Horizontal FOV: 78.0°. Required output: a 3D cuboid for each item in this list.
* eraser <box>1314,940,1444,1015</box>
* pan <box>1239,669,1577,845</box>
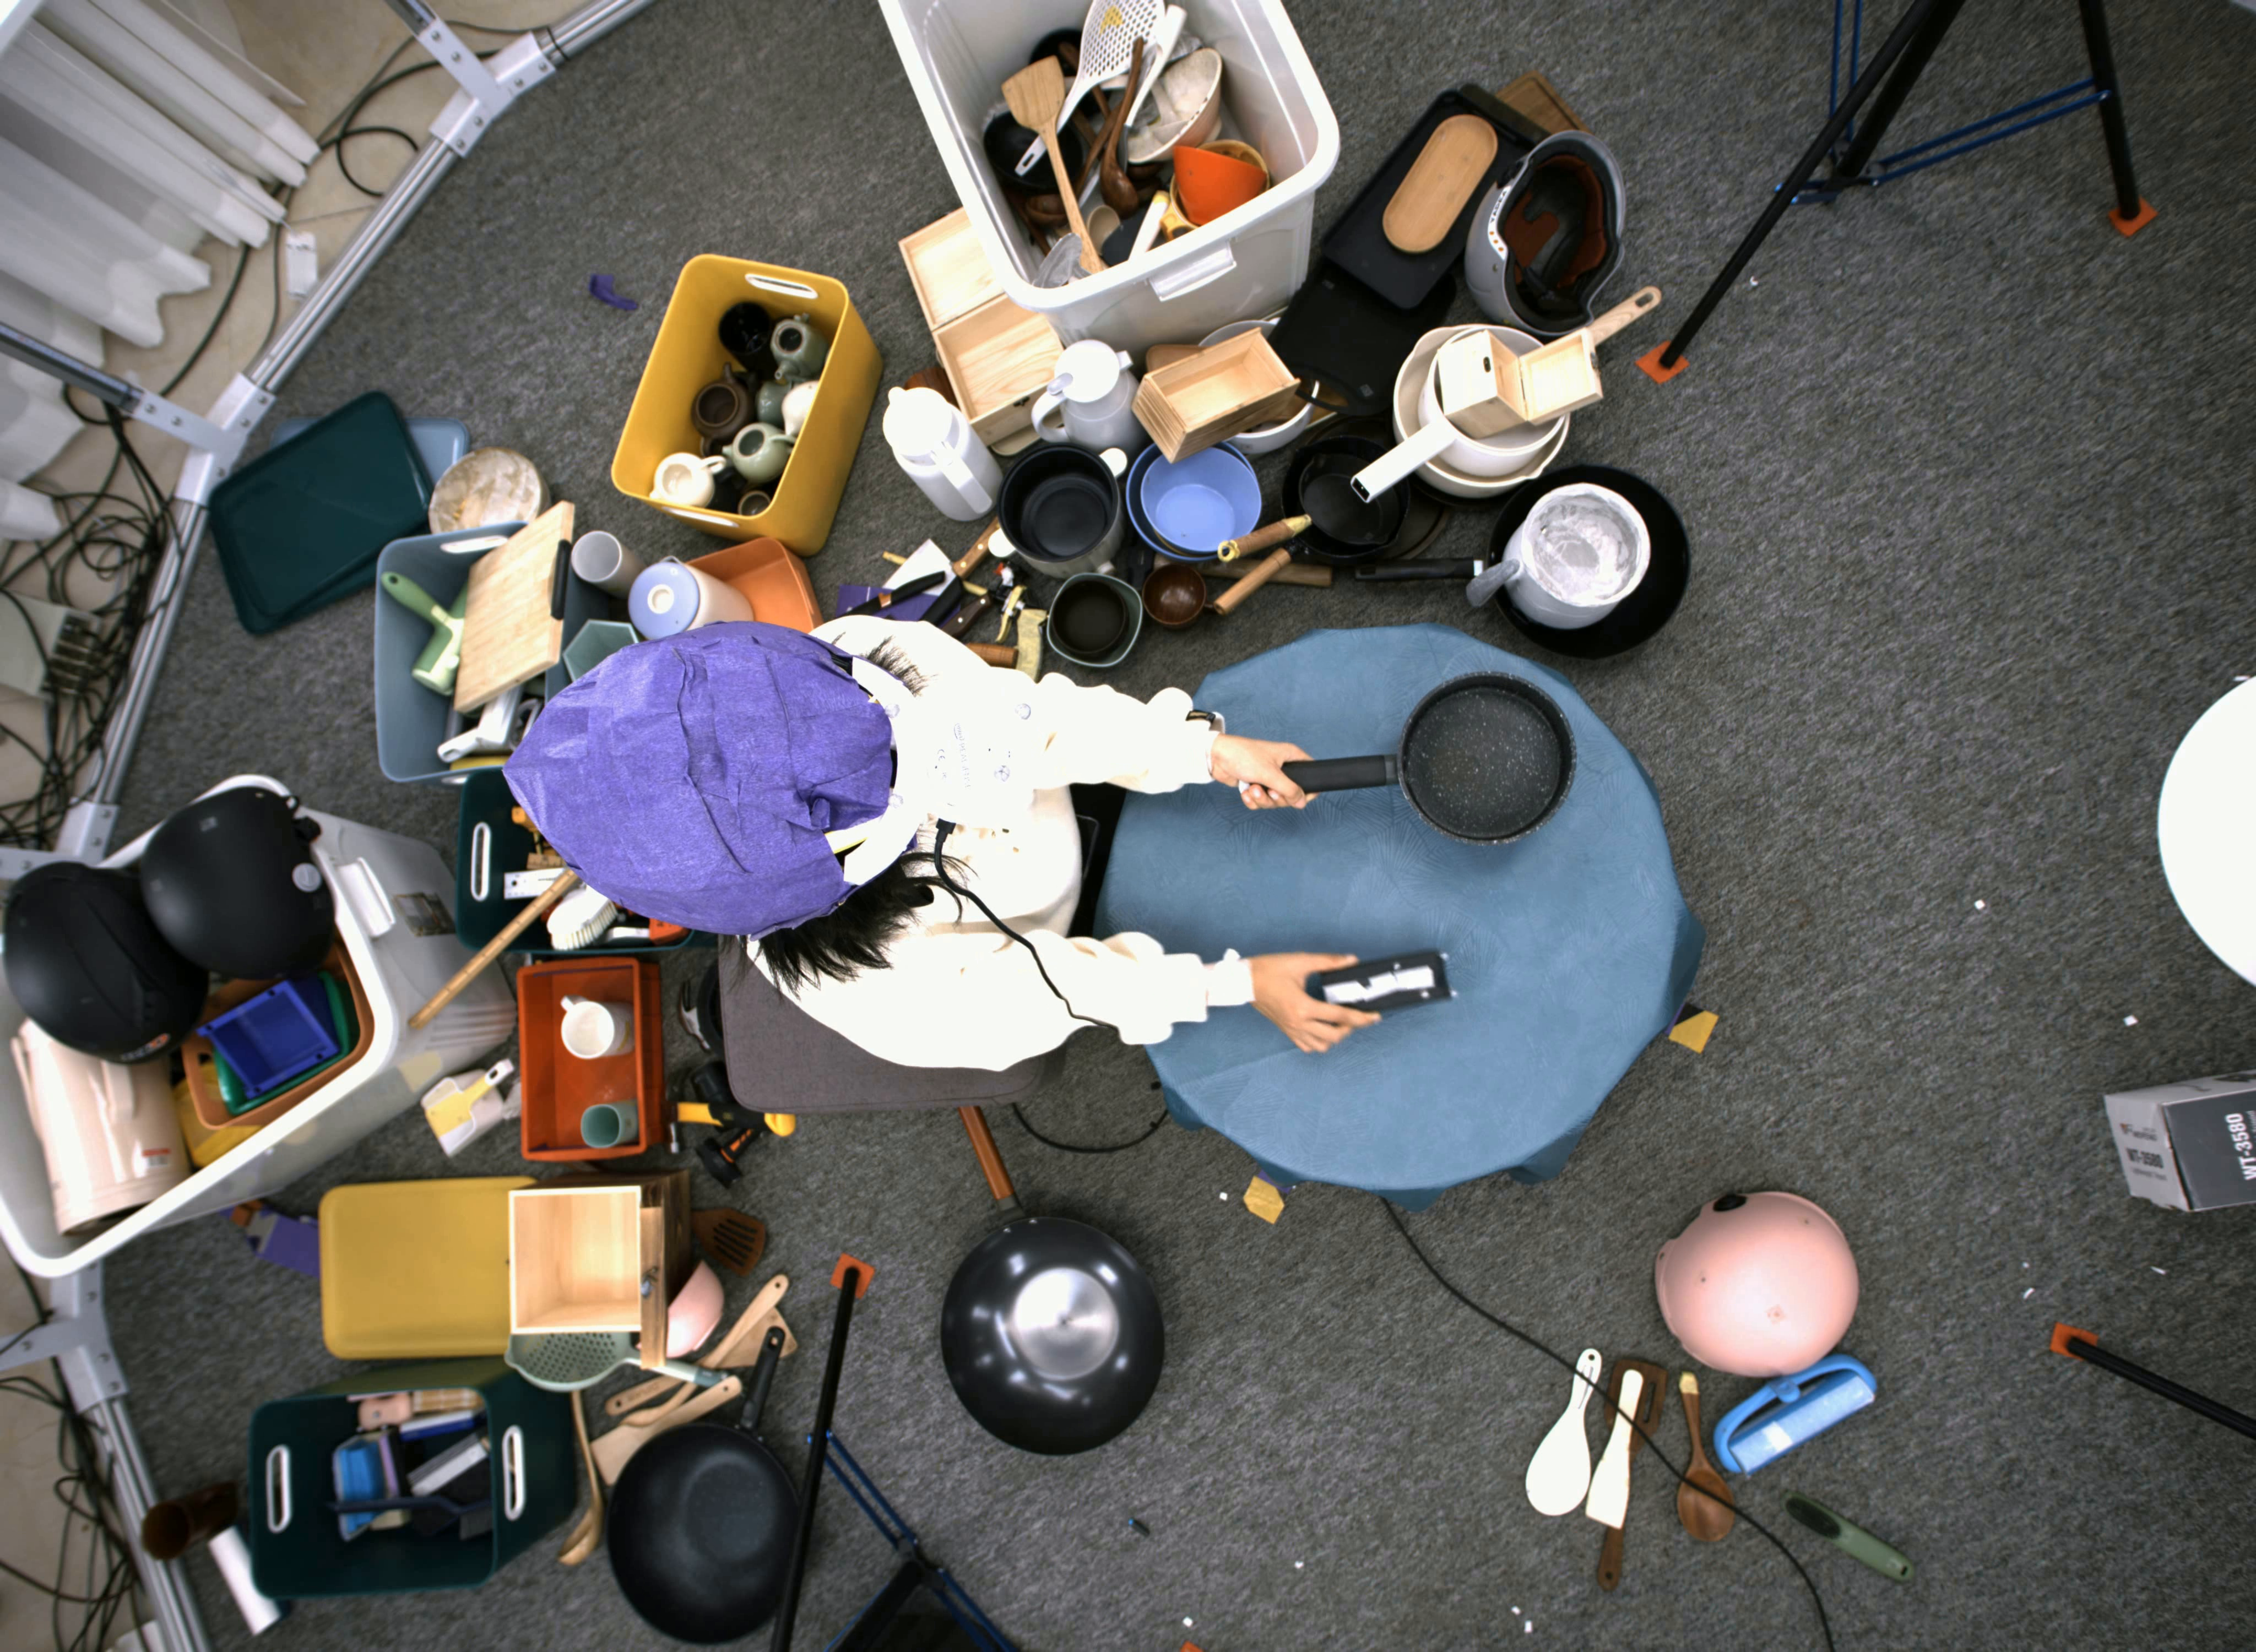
[{"bbox_3d":[0.254,0.151,1.396,0.127,0.030,0.053,-14,82,22],"label":"eraser"},{"bbox_3d":[0.277,-0.064,1.384,0.330,0.086,0.172,-3,91,11],"label":"pan"}]
